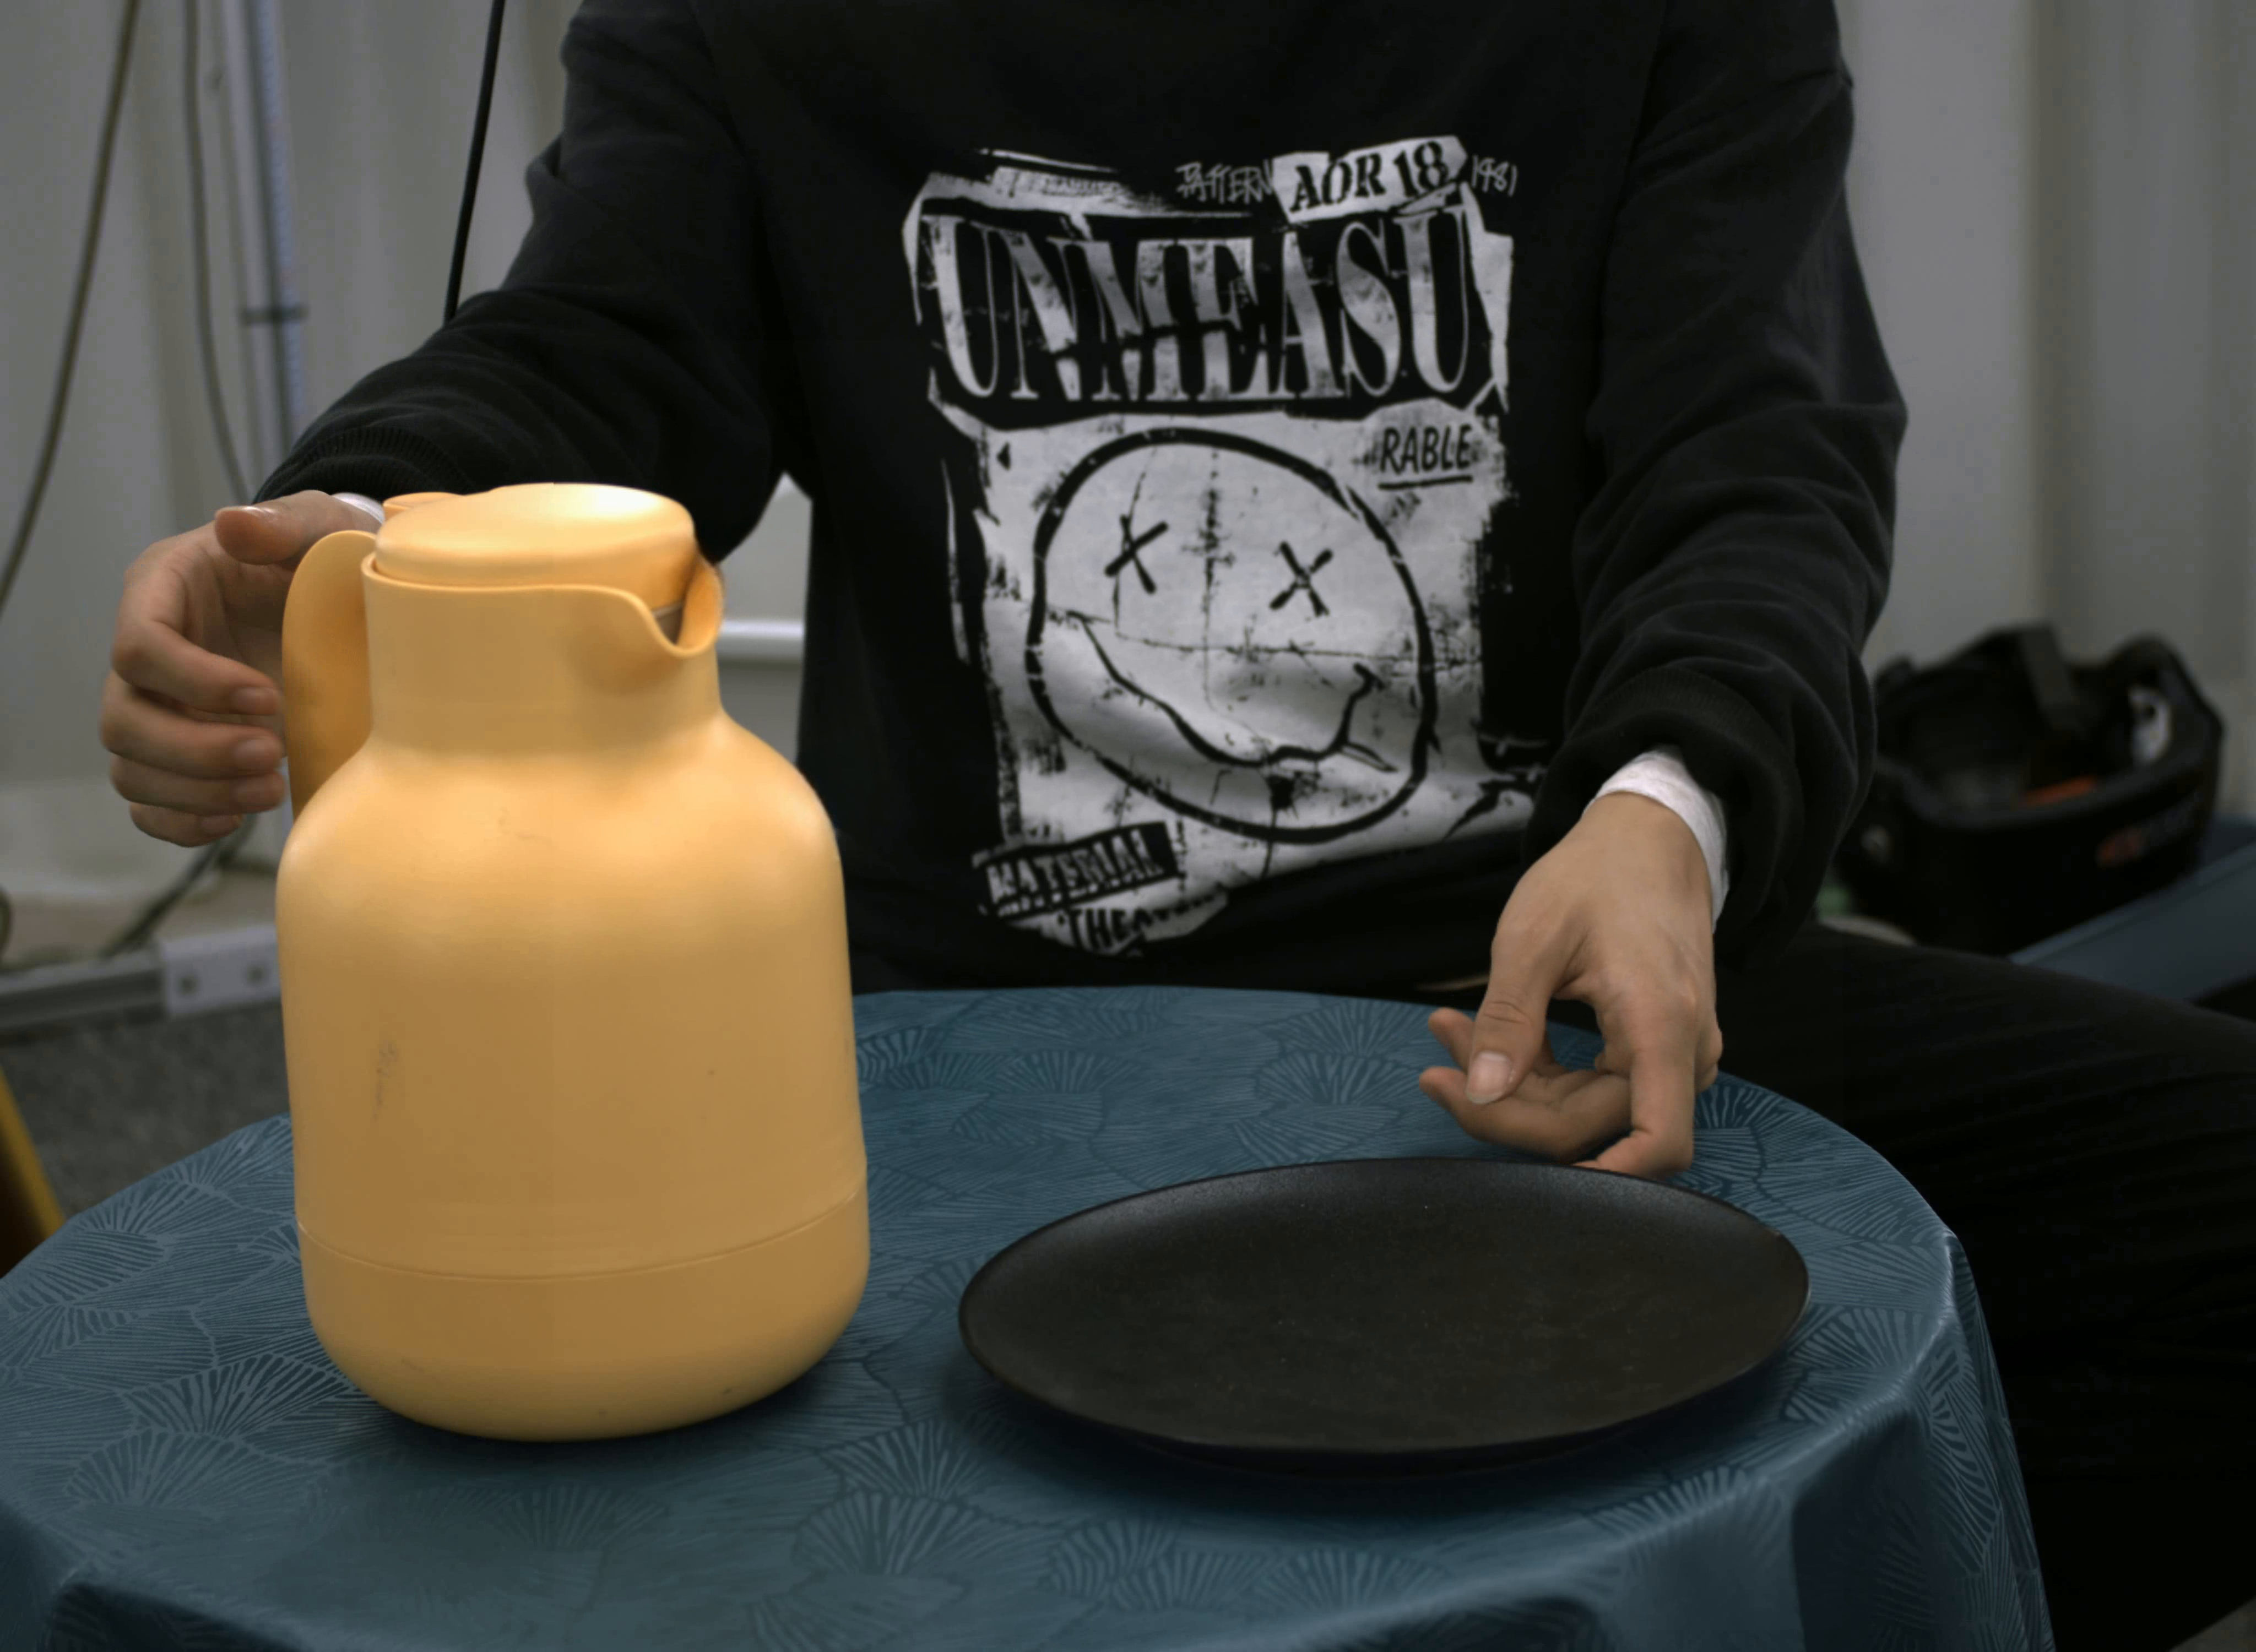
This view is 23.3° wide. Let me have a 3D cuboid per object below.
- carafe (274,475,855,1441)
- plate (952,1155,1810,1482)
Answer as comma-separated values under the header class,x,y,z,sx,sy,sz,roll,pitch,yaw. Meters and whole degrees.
class,x,y,z,sx,sy,sz,roll,pitch,yaw
carafe,-0.171,0.029,1.564,0.163,0.259,0.204,-10,17,-37
plate,0.072,0.142,1.551,0.243,0.023,0.246,-2,15,0
